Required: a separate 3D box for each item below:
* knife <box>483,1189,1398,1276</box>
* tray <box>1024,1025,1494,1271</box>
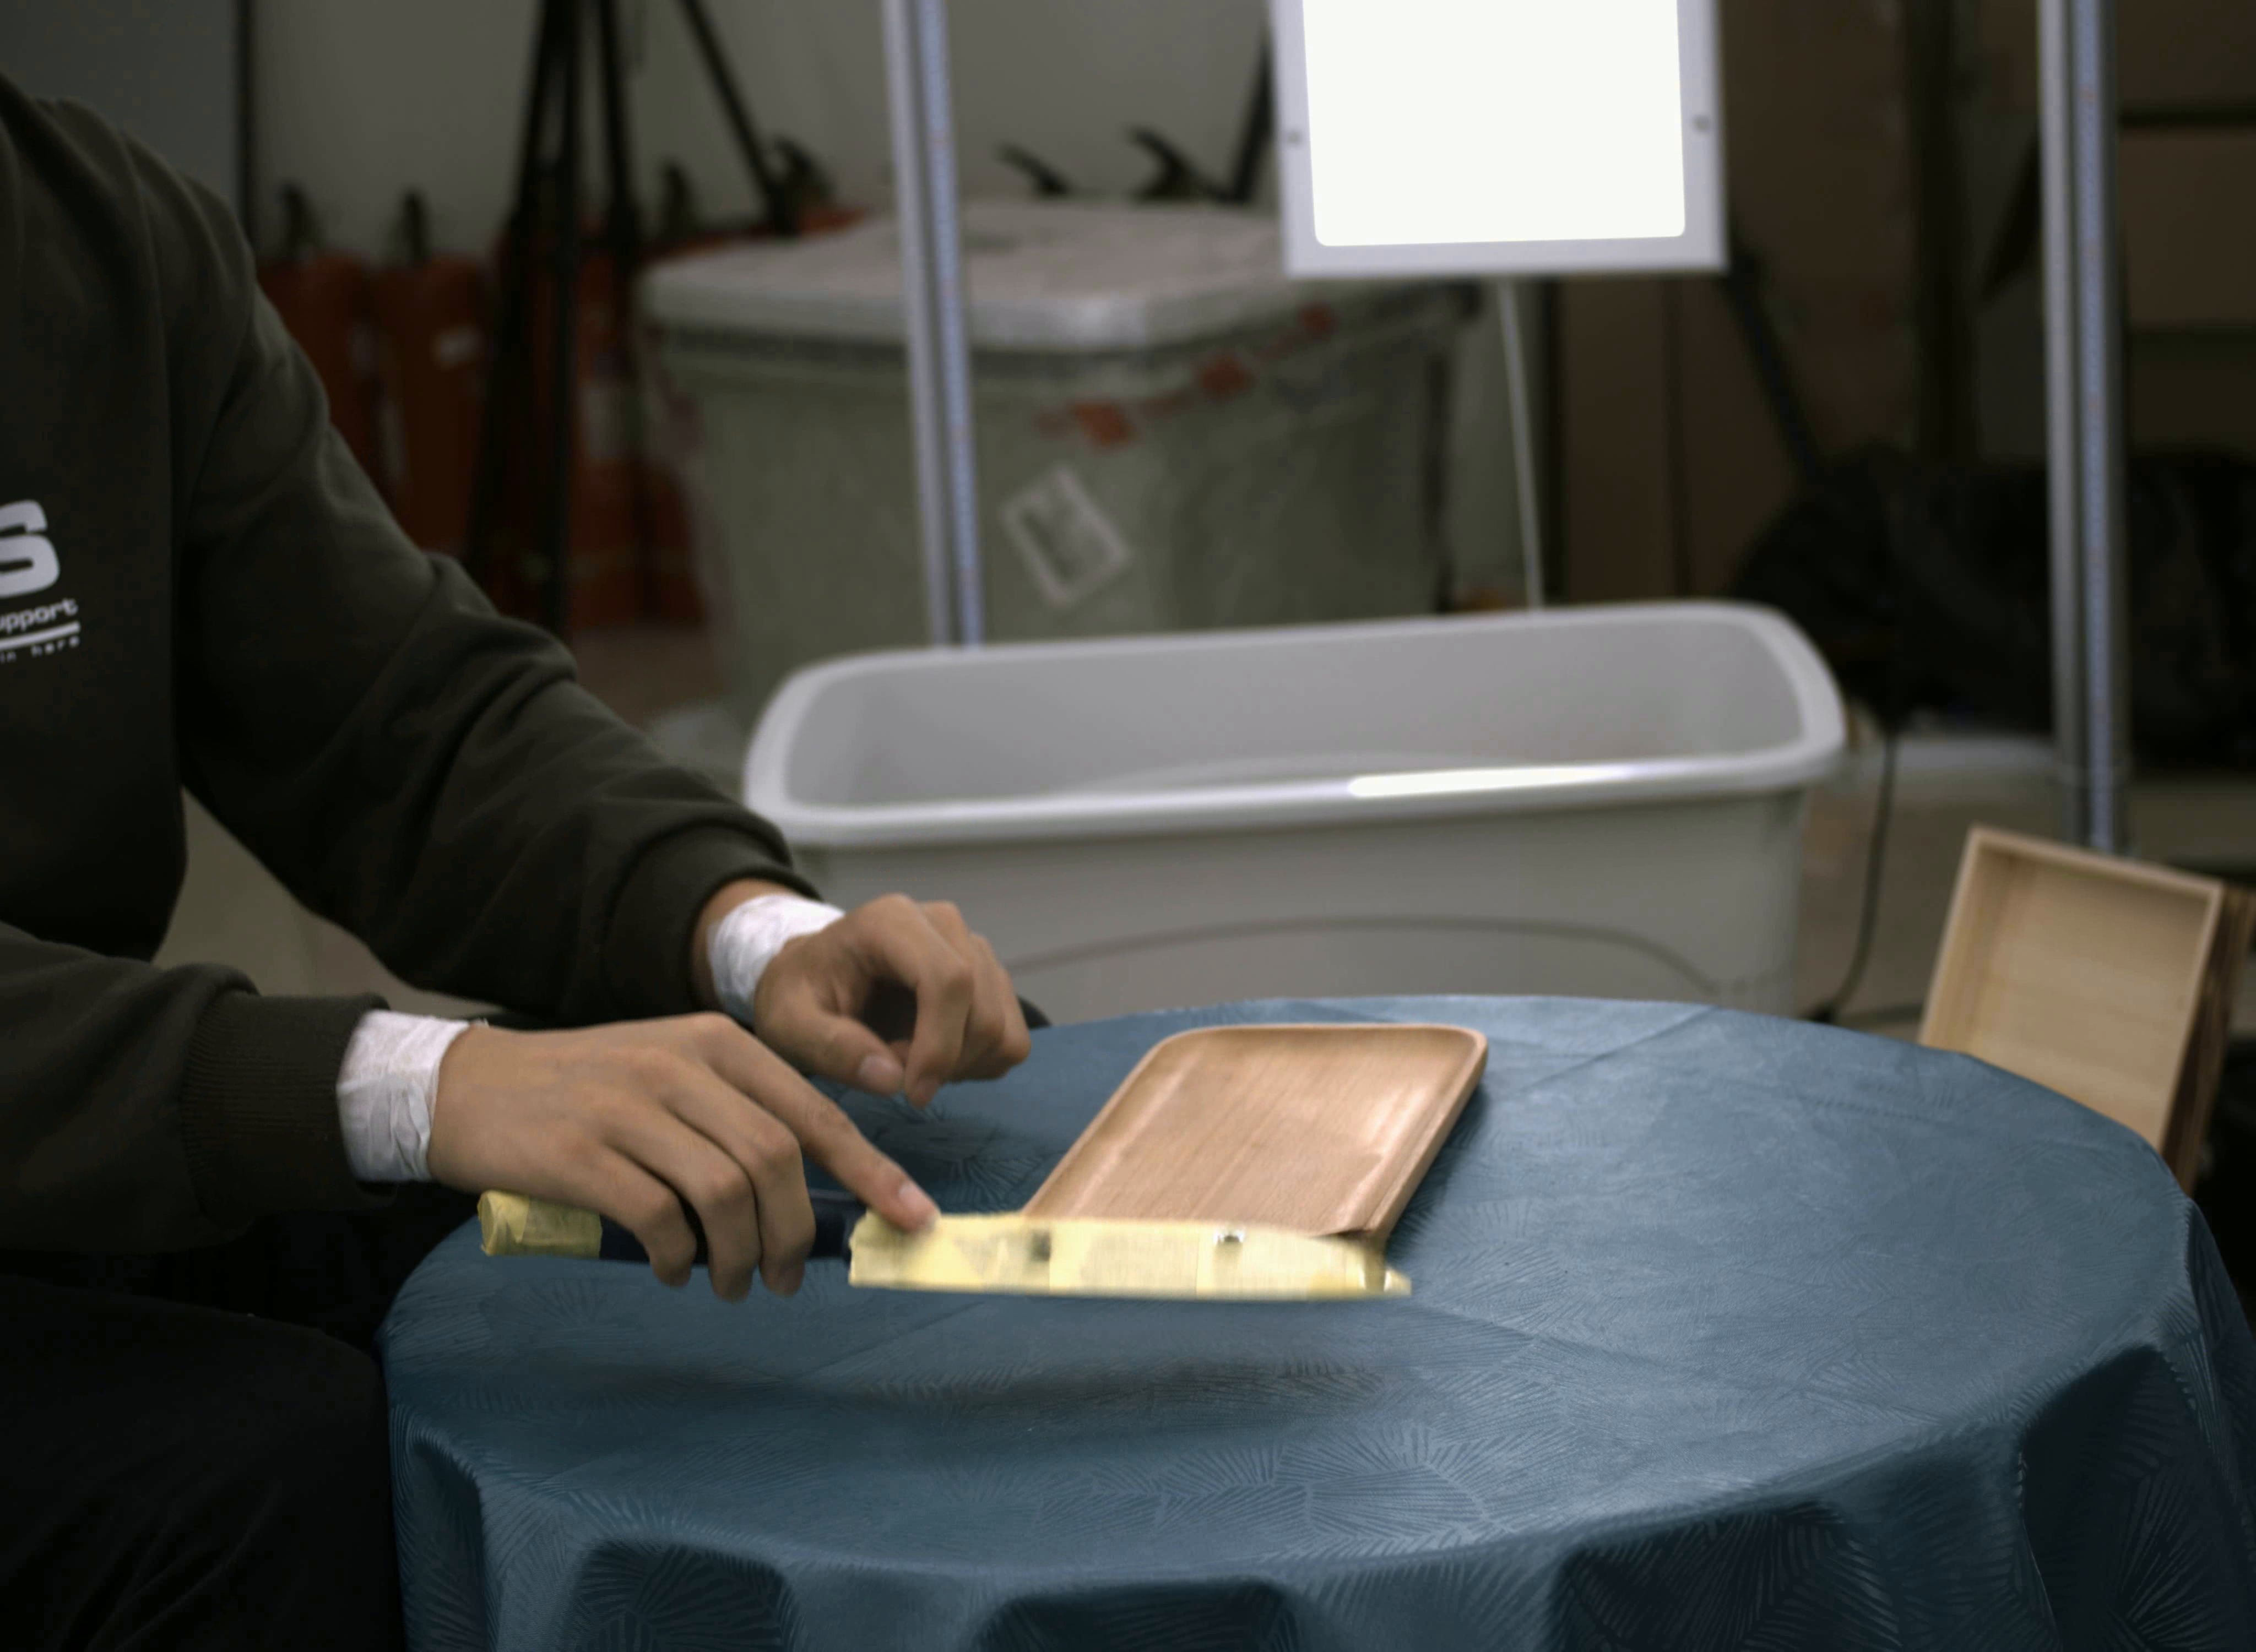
[{"bbox_3d":[-0.060,0.128,1.706,0.290,0.027,0.080,-1,9,7],"label":"knife"},{"bbox_3d":[0.050,0.110,1.916,0.132,0.023,0.247,-4,14,16],"label":"tray"}]
